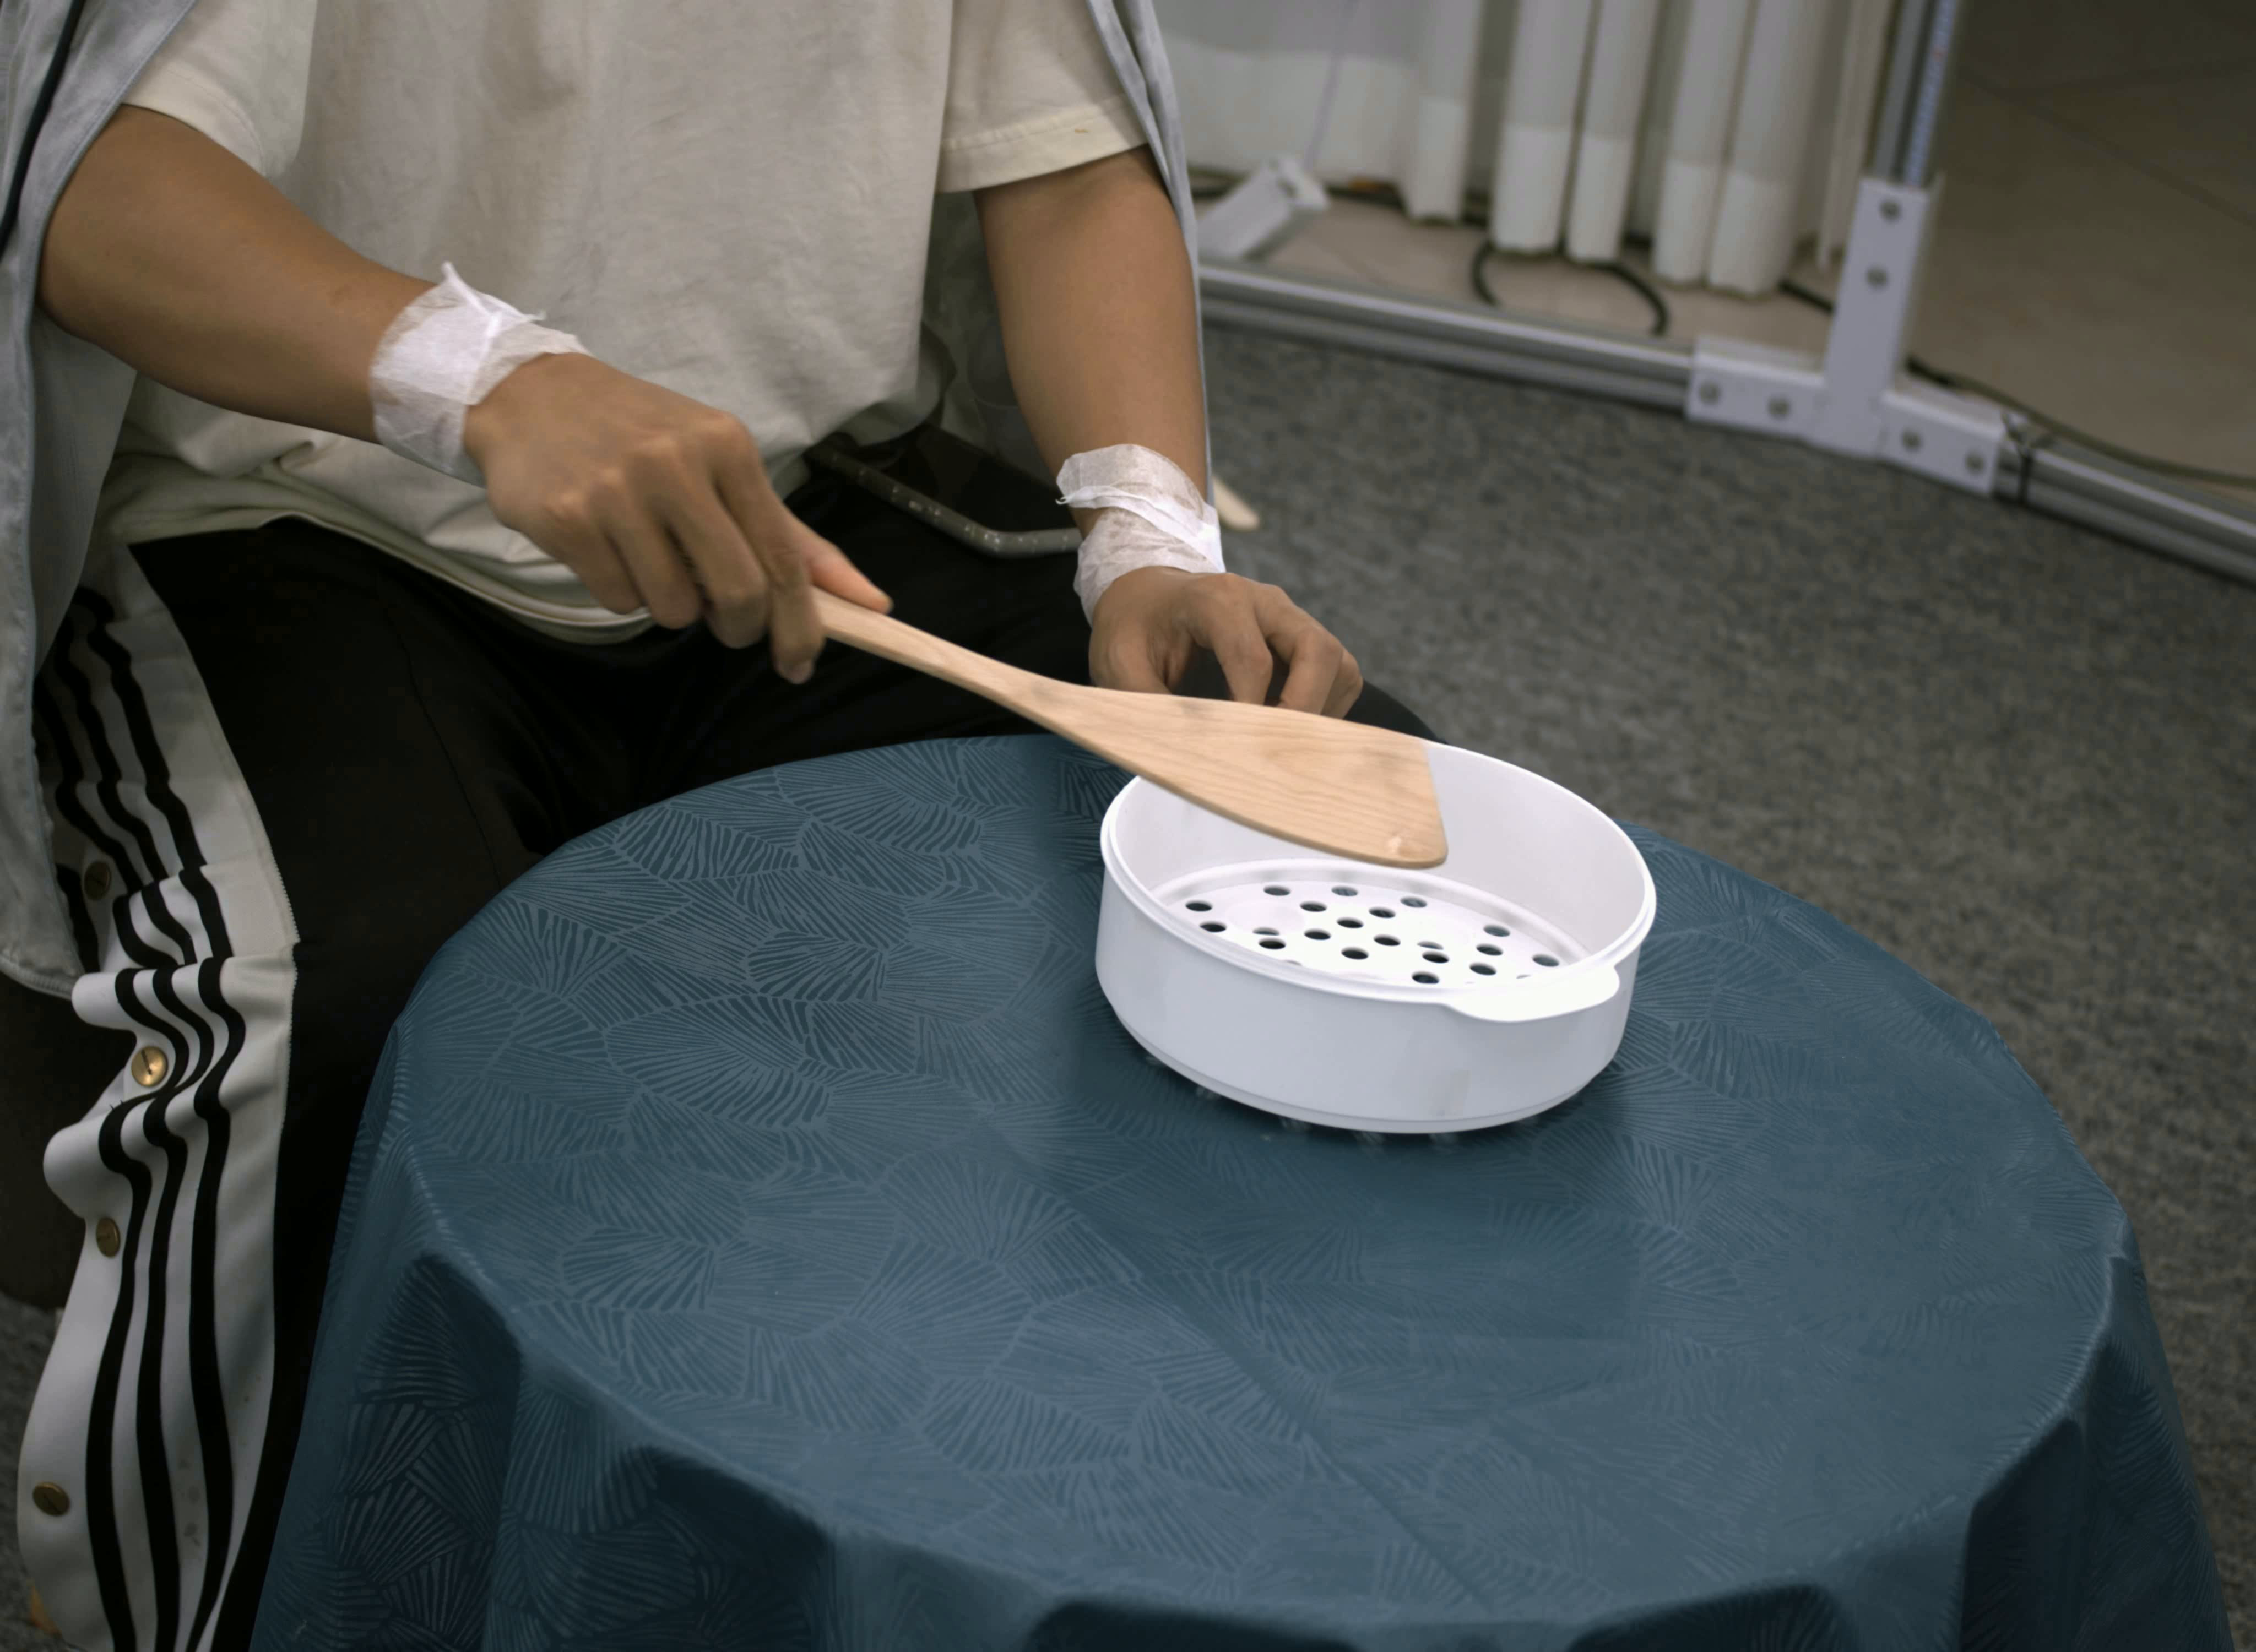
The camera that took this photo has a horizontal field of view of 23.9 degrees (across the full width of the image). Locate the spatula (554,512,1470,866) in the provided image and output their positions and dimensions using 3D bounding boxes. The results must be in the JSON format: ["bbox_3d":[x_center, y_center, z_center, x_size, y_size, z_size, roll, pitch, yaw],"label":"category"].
[{"bbox_3d":[-0.038,-0.053,1.812,0.326,0.016,0.080,19,33,-7],"label":"spatula"}]

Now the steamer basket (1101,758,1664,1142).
[{"bbox_3d":[0.089,0.042,1.913,0.200,0.069,0.232,-9,30,-30],"label":"steamer basket"}]
